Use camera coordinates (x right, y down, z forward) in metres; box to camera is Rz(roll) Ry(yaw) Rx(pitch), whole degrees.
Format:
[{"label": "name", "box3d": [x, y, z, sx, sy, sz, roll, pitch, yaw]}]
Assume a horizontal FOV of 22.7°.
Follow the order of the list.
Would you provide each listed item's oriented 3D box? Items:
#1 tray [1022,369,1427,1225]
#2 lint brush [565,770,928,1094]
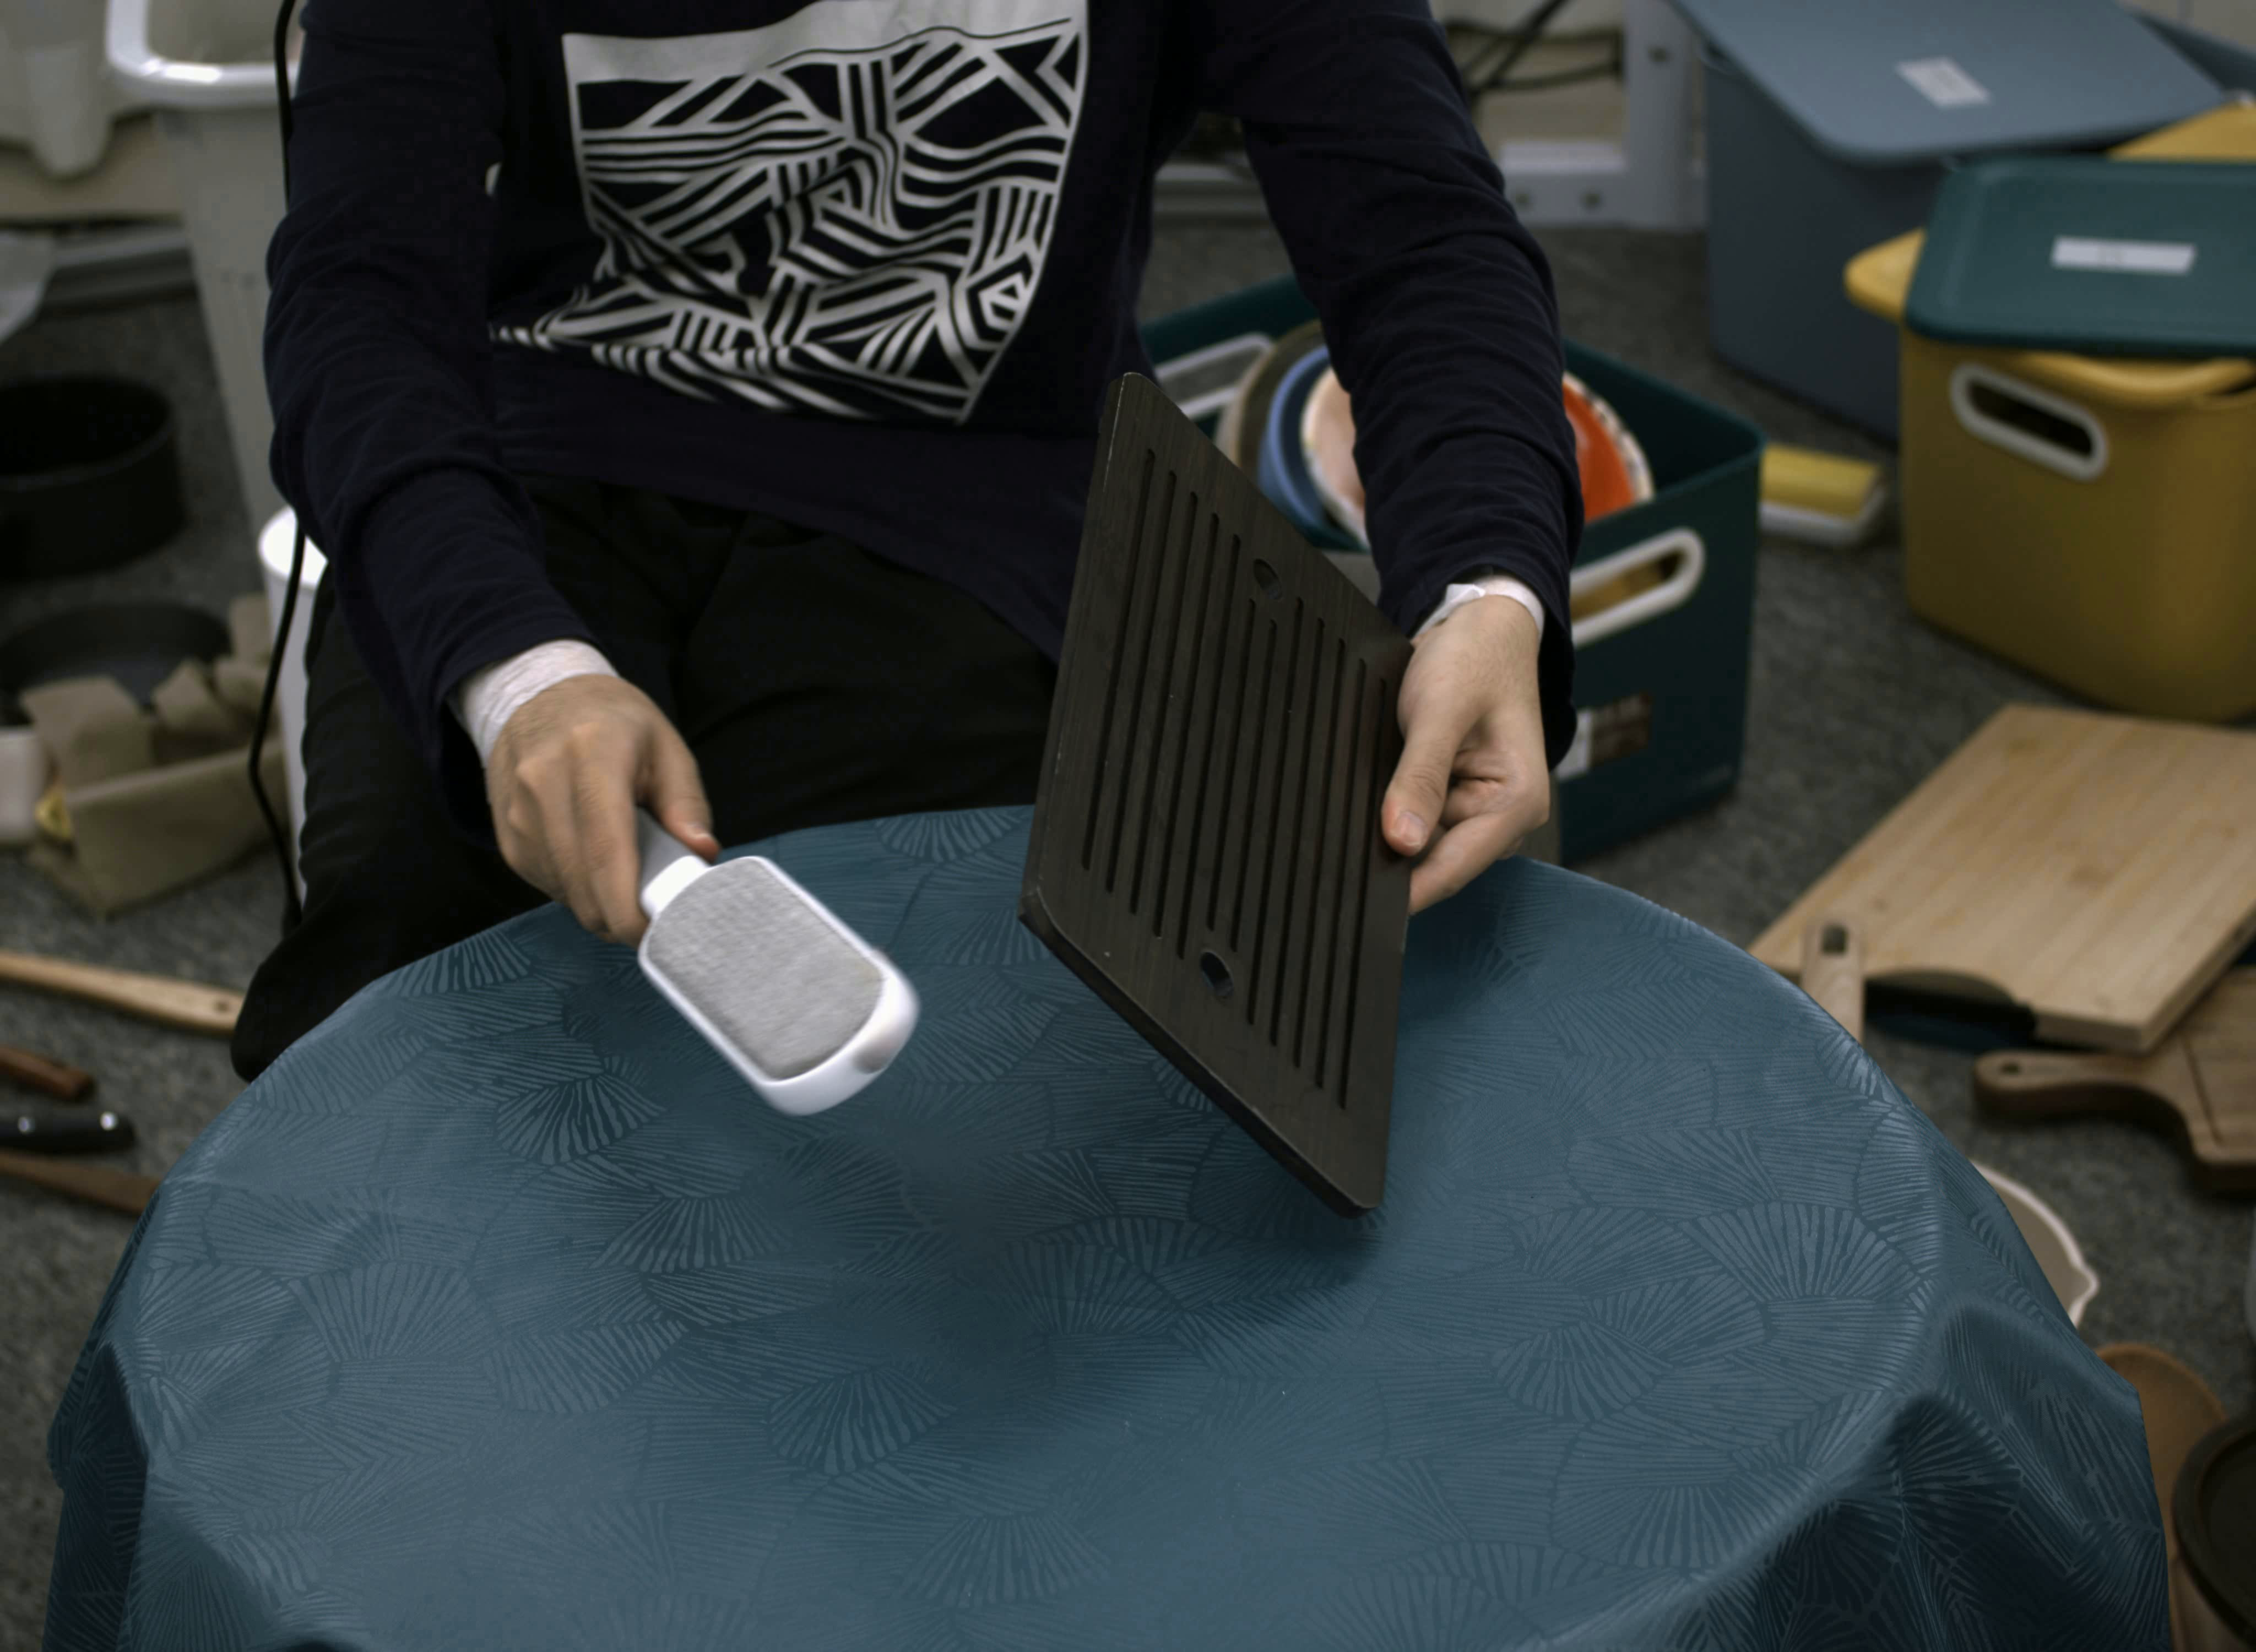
[{"label": "tray", "box3d": [0.035, -0.014, 1.905, 0.018, 0.169, 0.312, -32, 28, 28]}, {"label": "lint brush", "box3d": [-0.133, 0.027, 1.866, 0.060, 0.021, 0.309, -44, 26, -6]}]
